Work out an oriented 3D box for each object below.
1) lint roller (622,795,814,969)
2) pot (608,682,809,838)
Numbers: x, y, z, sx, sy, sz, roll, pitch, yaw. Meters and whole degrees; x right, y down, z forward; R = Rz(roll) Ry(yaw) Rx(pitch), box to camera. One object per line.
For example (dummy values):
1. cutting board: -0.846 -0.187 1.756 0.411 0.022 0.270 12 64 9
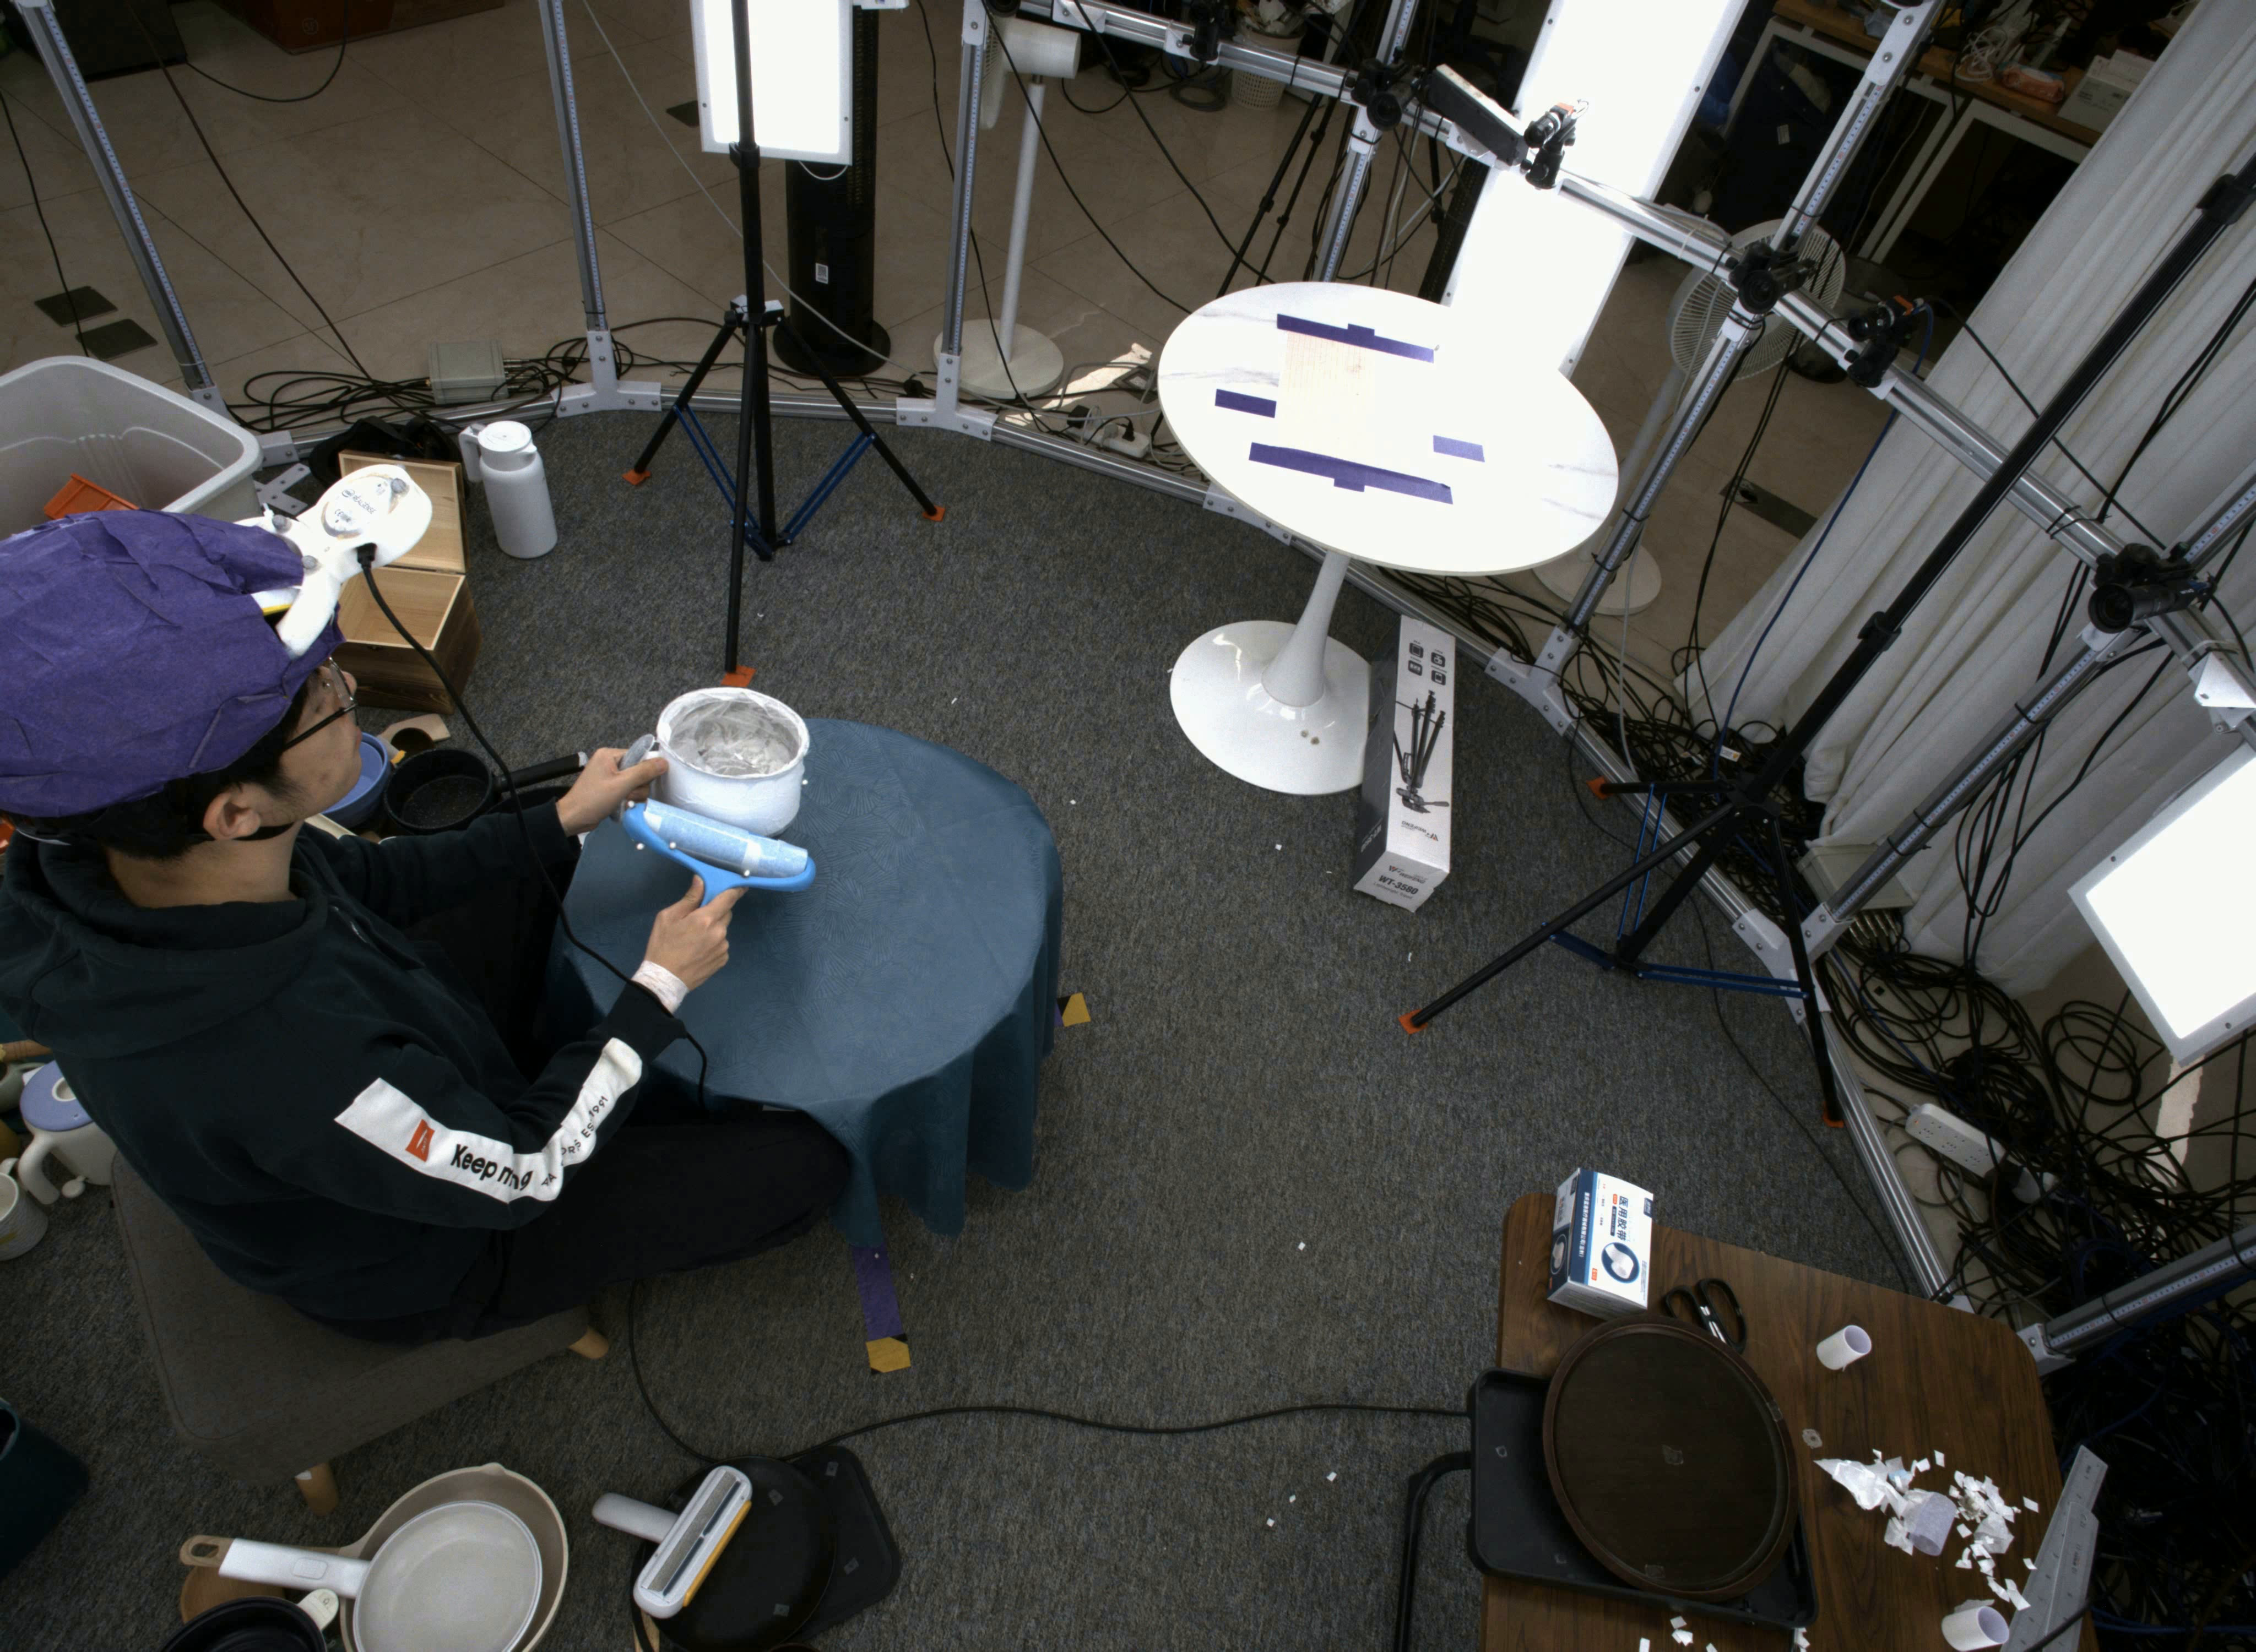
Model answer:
1. lint roller: -0.476 0.068 1.477 0.234 0.067 0.178 18 57 -30
2. pot: -0.509 -0.067 1.555 0.237 0.139 0.173 -8 46 -35
